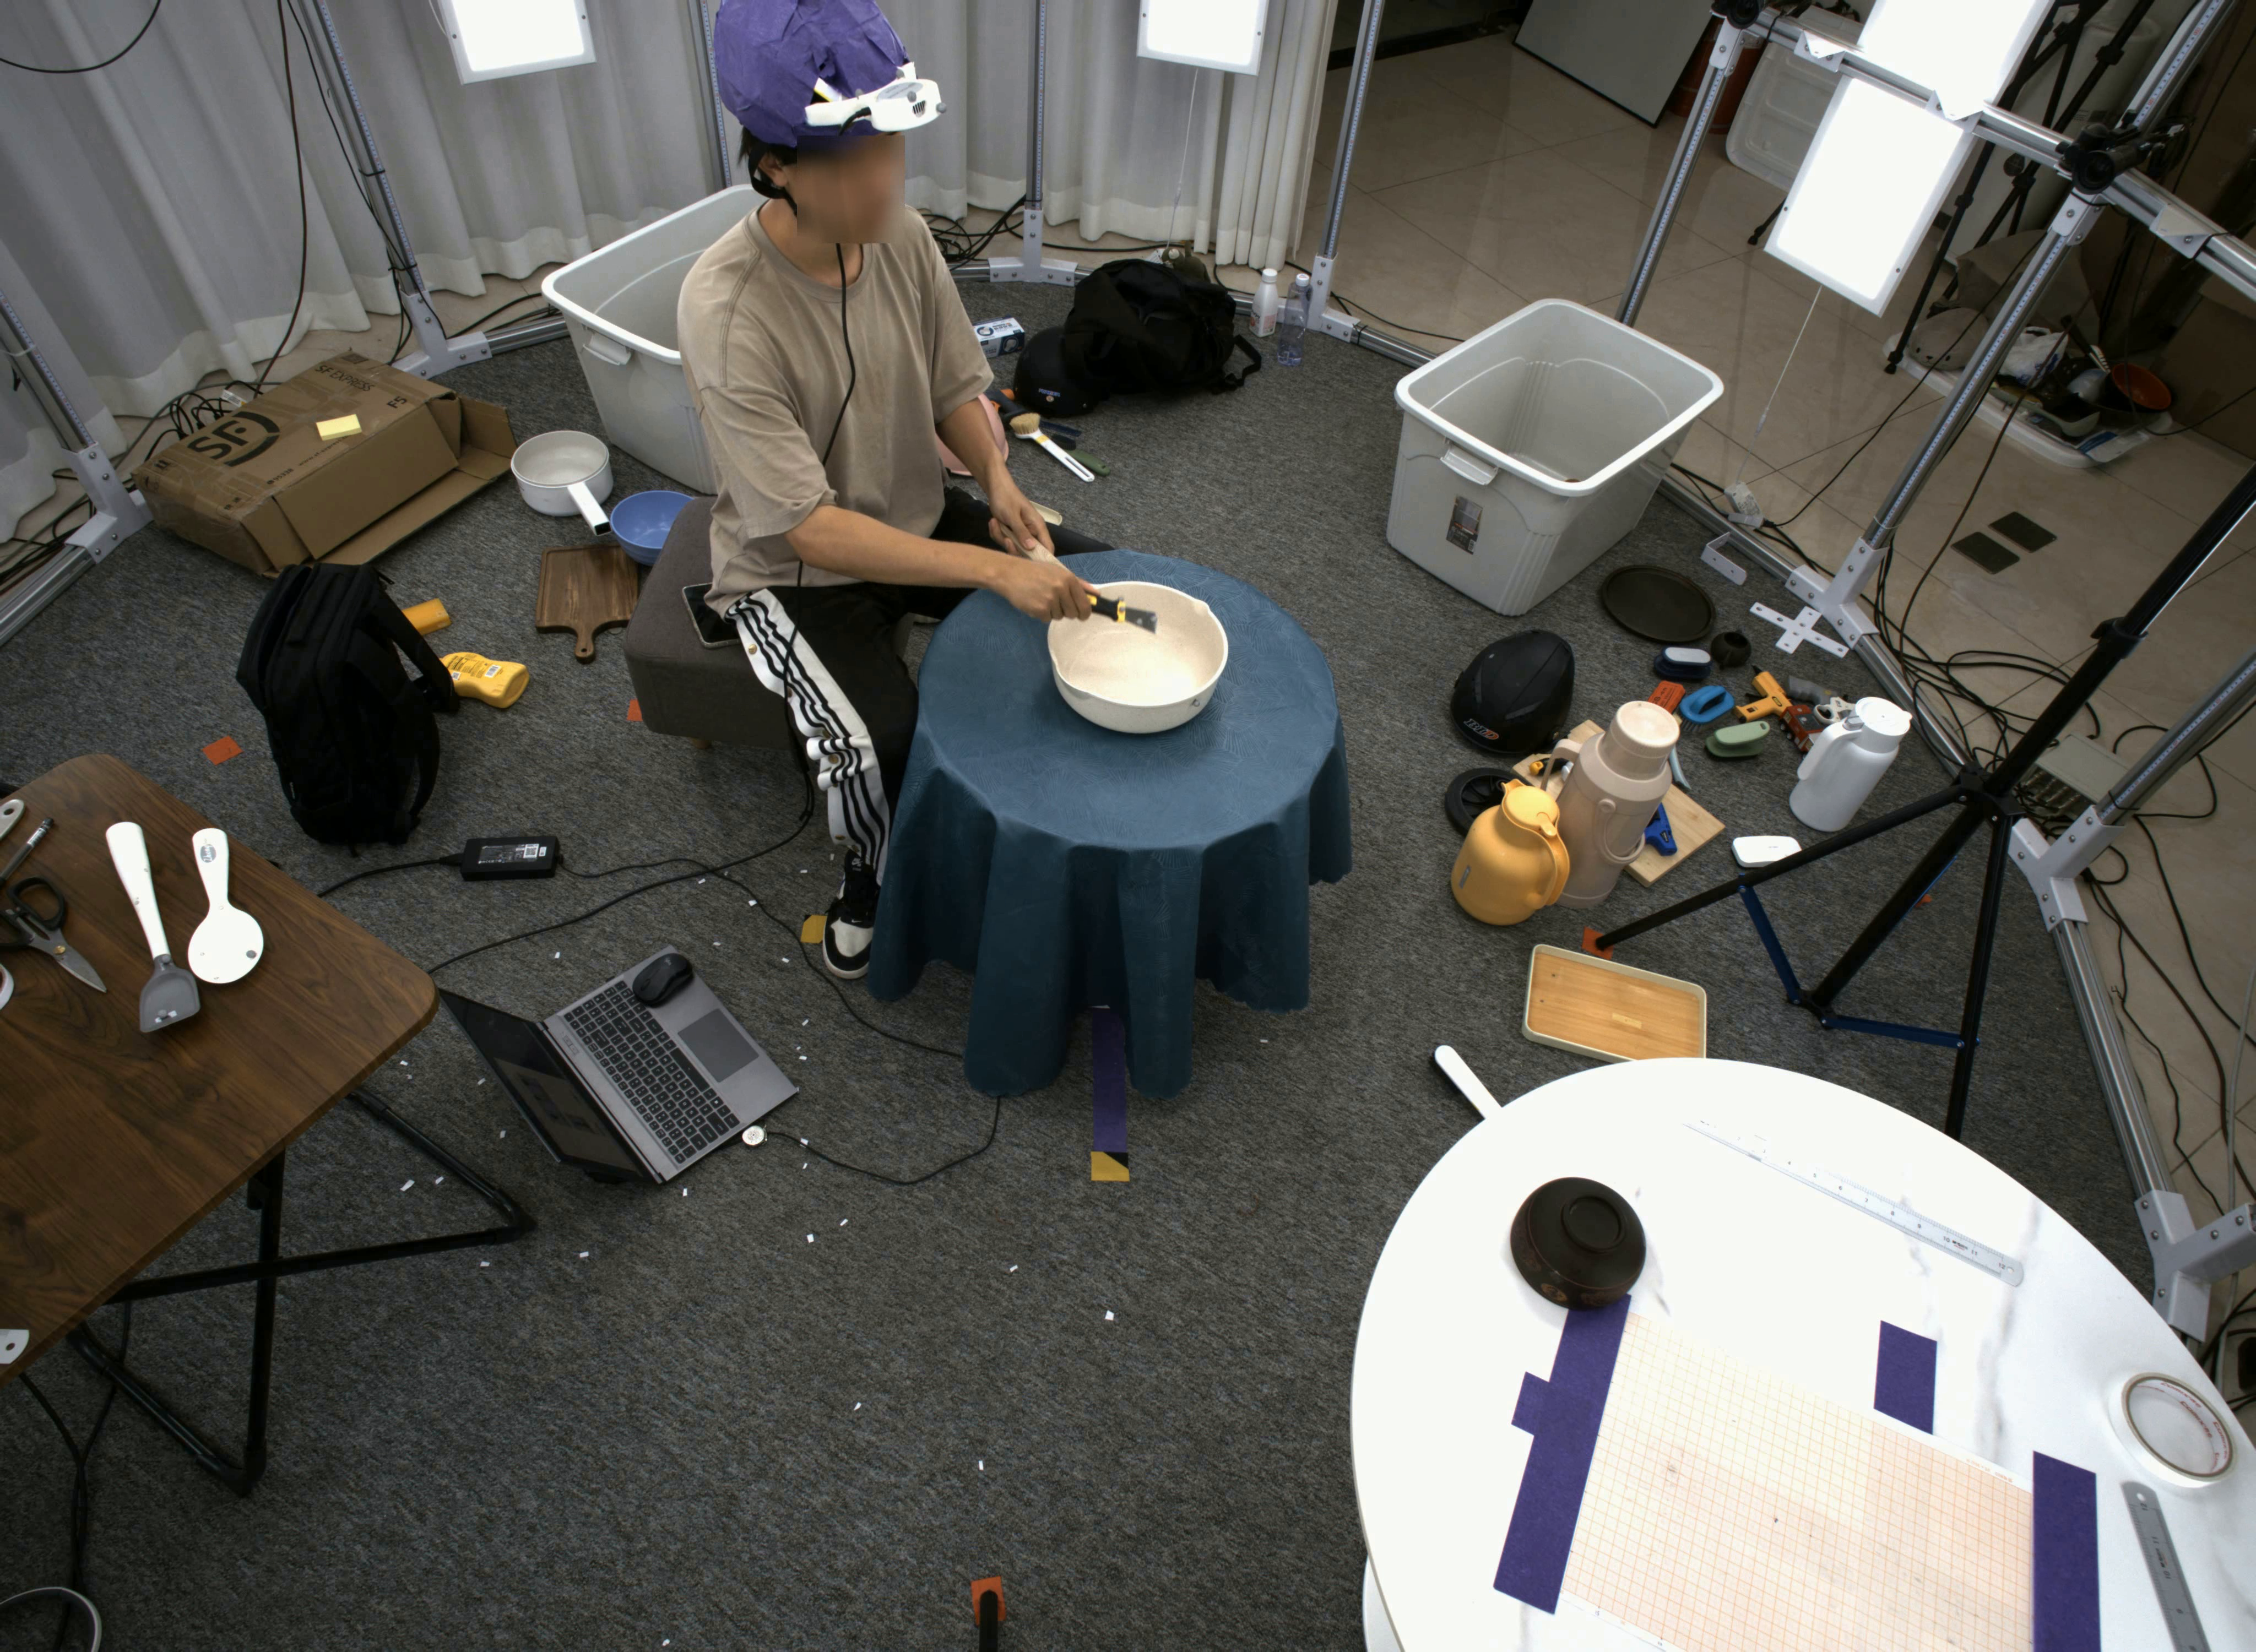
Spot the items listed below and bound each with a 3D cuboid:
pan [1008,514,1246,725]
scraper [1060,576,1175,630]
[{"bbox_3d":[-0.024,-0.303,1.855,0.265,0.099,0.442,-34,59,-27],"label":"pan"},{"bbox_3d":[-0.012,-0.302,1.734,0.169,0.015,0.039,13,66,-23],"label":"scraper"}]
